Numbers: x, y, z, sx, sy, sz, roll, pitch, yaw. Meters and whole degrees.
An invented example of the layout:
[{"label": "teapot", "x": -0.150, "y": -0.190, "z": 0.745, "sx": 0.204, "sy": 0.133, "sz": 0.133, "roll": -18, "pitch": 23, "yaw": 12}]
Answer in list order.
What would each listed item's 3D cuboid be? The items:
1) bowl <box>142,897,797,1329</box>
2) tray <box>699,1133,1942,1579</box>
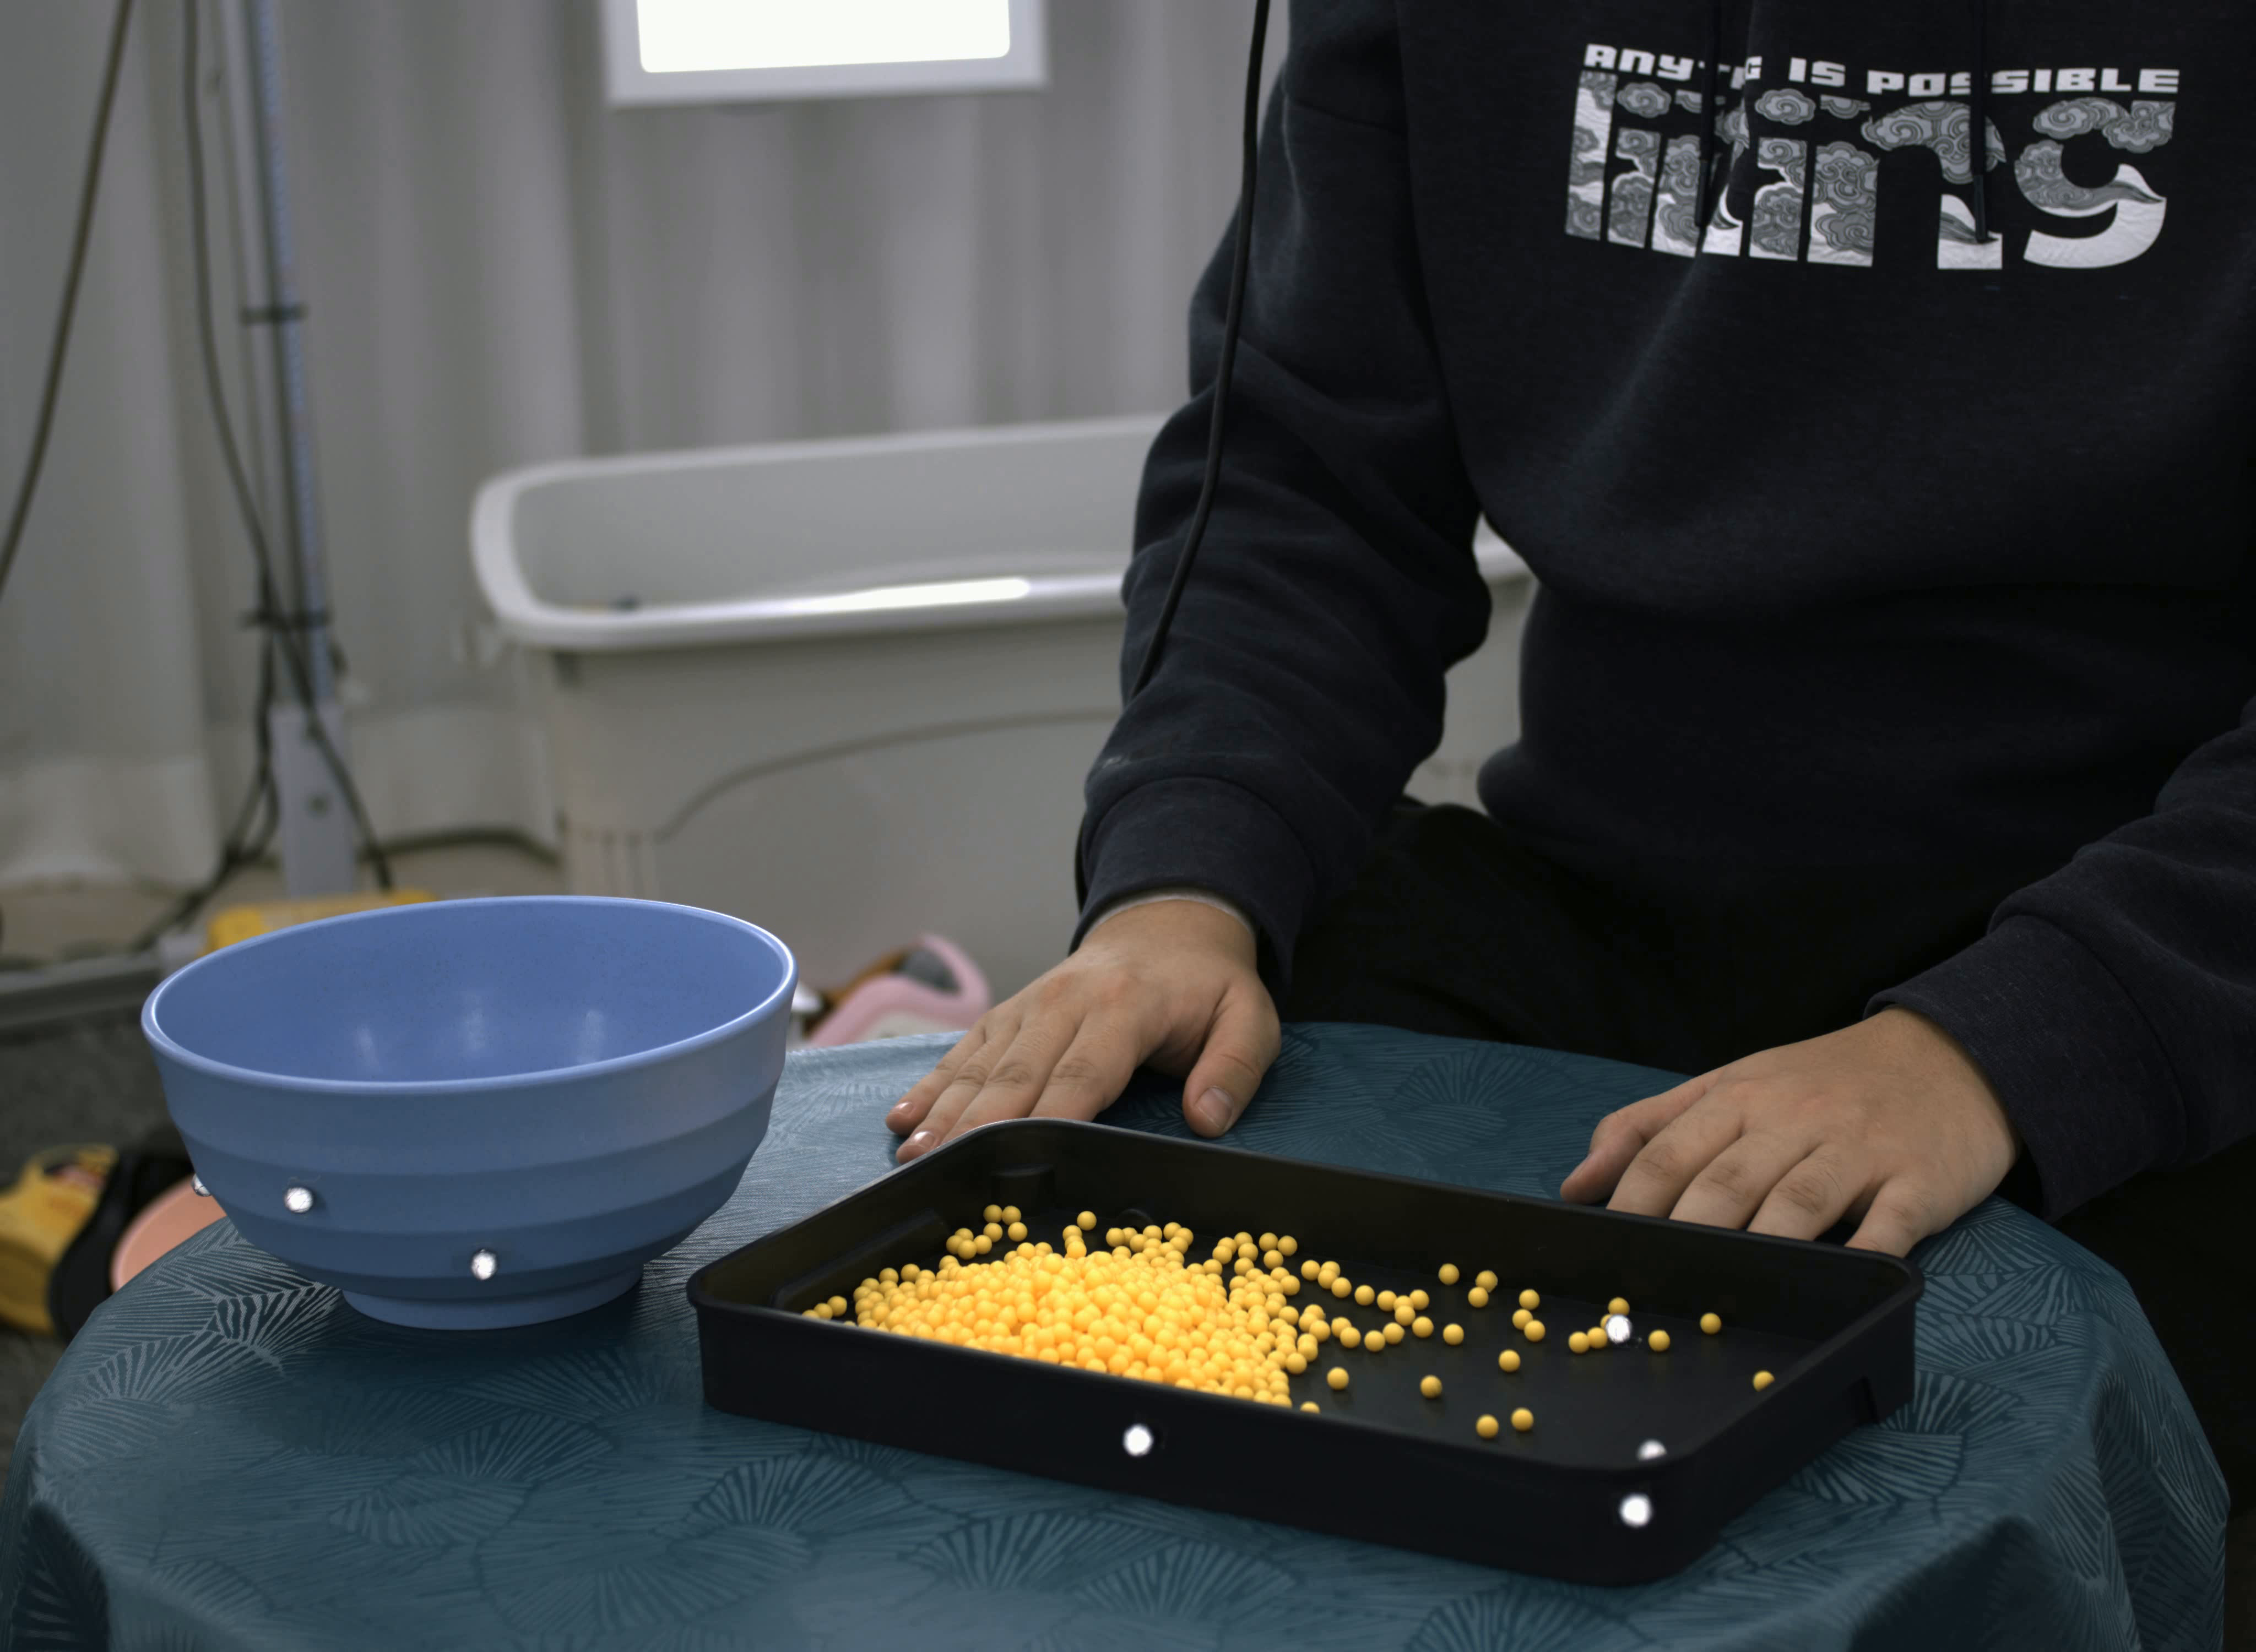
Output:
[{"label": "bowl", "x": -0.194, "y": 0.092, "z": 1.651, "sx": 0.196, "sy": 0.095, "sz": 0.198, "roll": -4, "pitch": 14, "yaw": 1}, {"label": "tray", "x": 0.053, "y": 0.144, "z": 1.534, "sx": 0.319, "sy": 0.037, "sz": 0.184, "roll": 5, "pitch": 16, "yaw": 31}]
